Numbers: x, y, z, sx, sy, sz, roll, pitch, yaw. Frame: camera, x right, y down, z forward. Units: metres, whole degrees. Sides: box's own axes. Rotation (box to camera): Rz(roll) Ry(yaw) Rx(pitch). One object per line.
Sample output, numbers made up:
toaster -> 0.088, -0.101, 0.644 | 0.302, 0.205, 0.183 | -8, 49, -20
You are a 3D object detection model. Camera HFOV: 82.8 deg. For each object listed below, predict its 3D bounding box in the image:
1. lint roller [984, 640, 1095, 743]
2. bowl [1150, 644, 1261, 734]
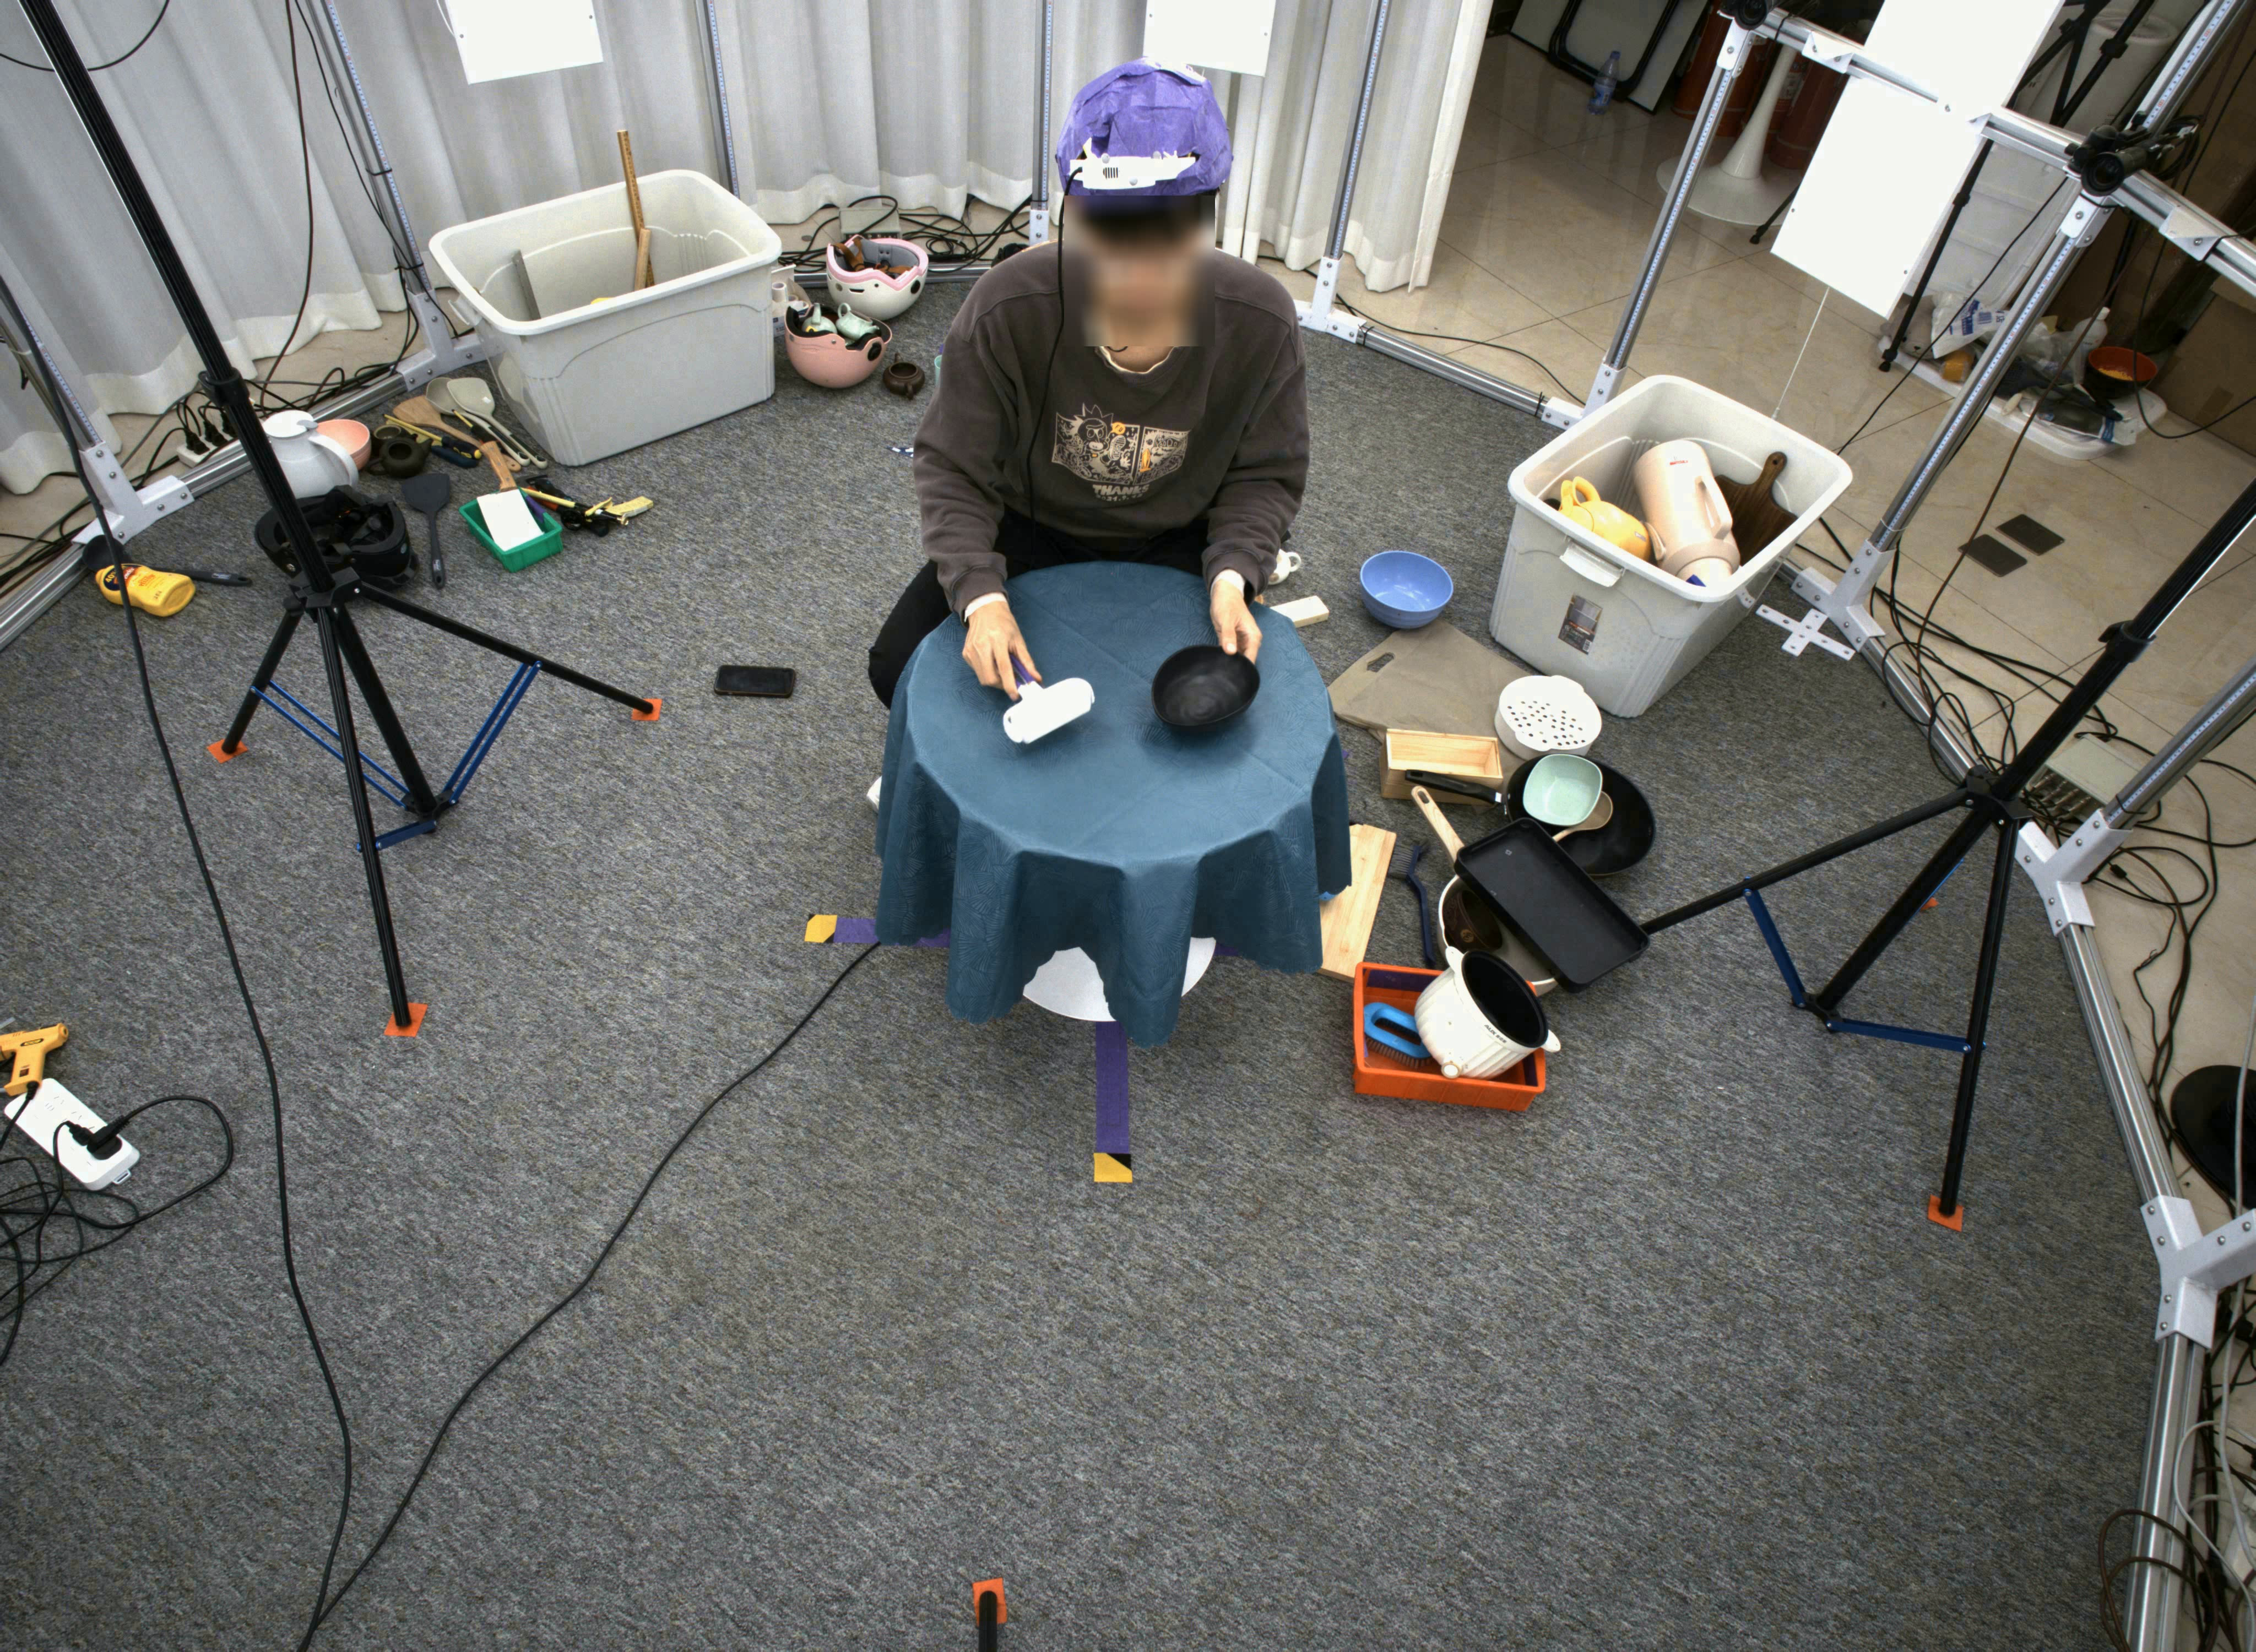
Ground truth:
lint roller -> -0.140, -0.203, 1.753 | 0.133, 0.049, 0.184 | -28, 65, -21
bowl -> 0.107, -0.179, 1.787 | 0.139, 0.065, 0.172 | 34, 57, 25
